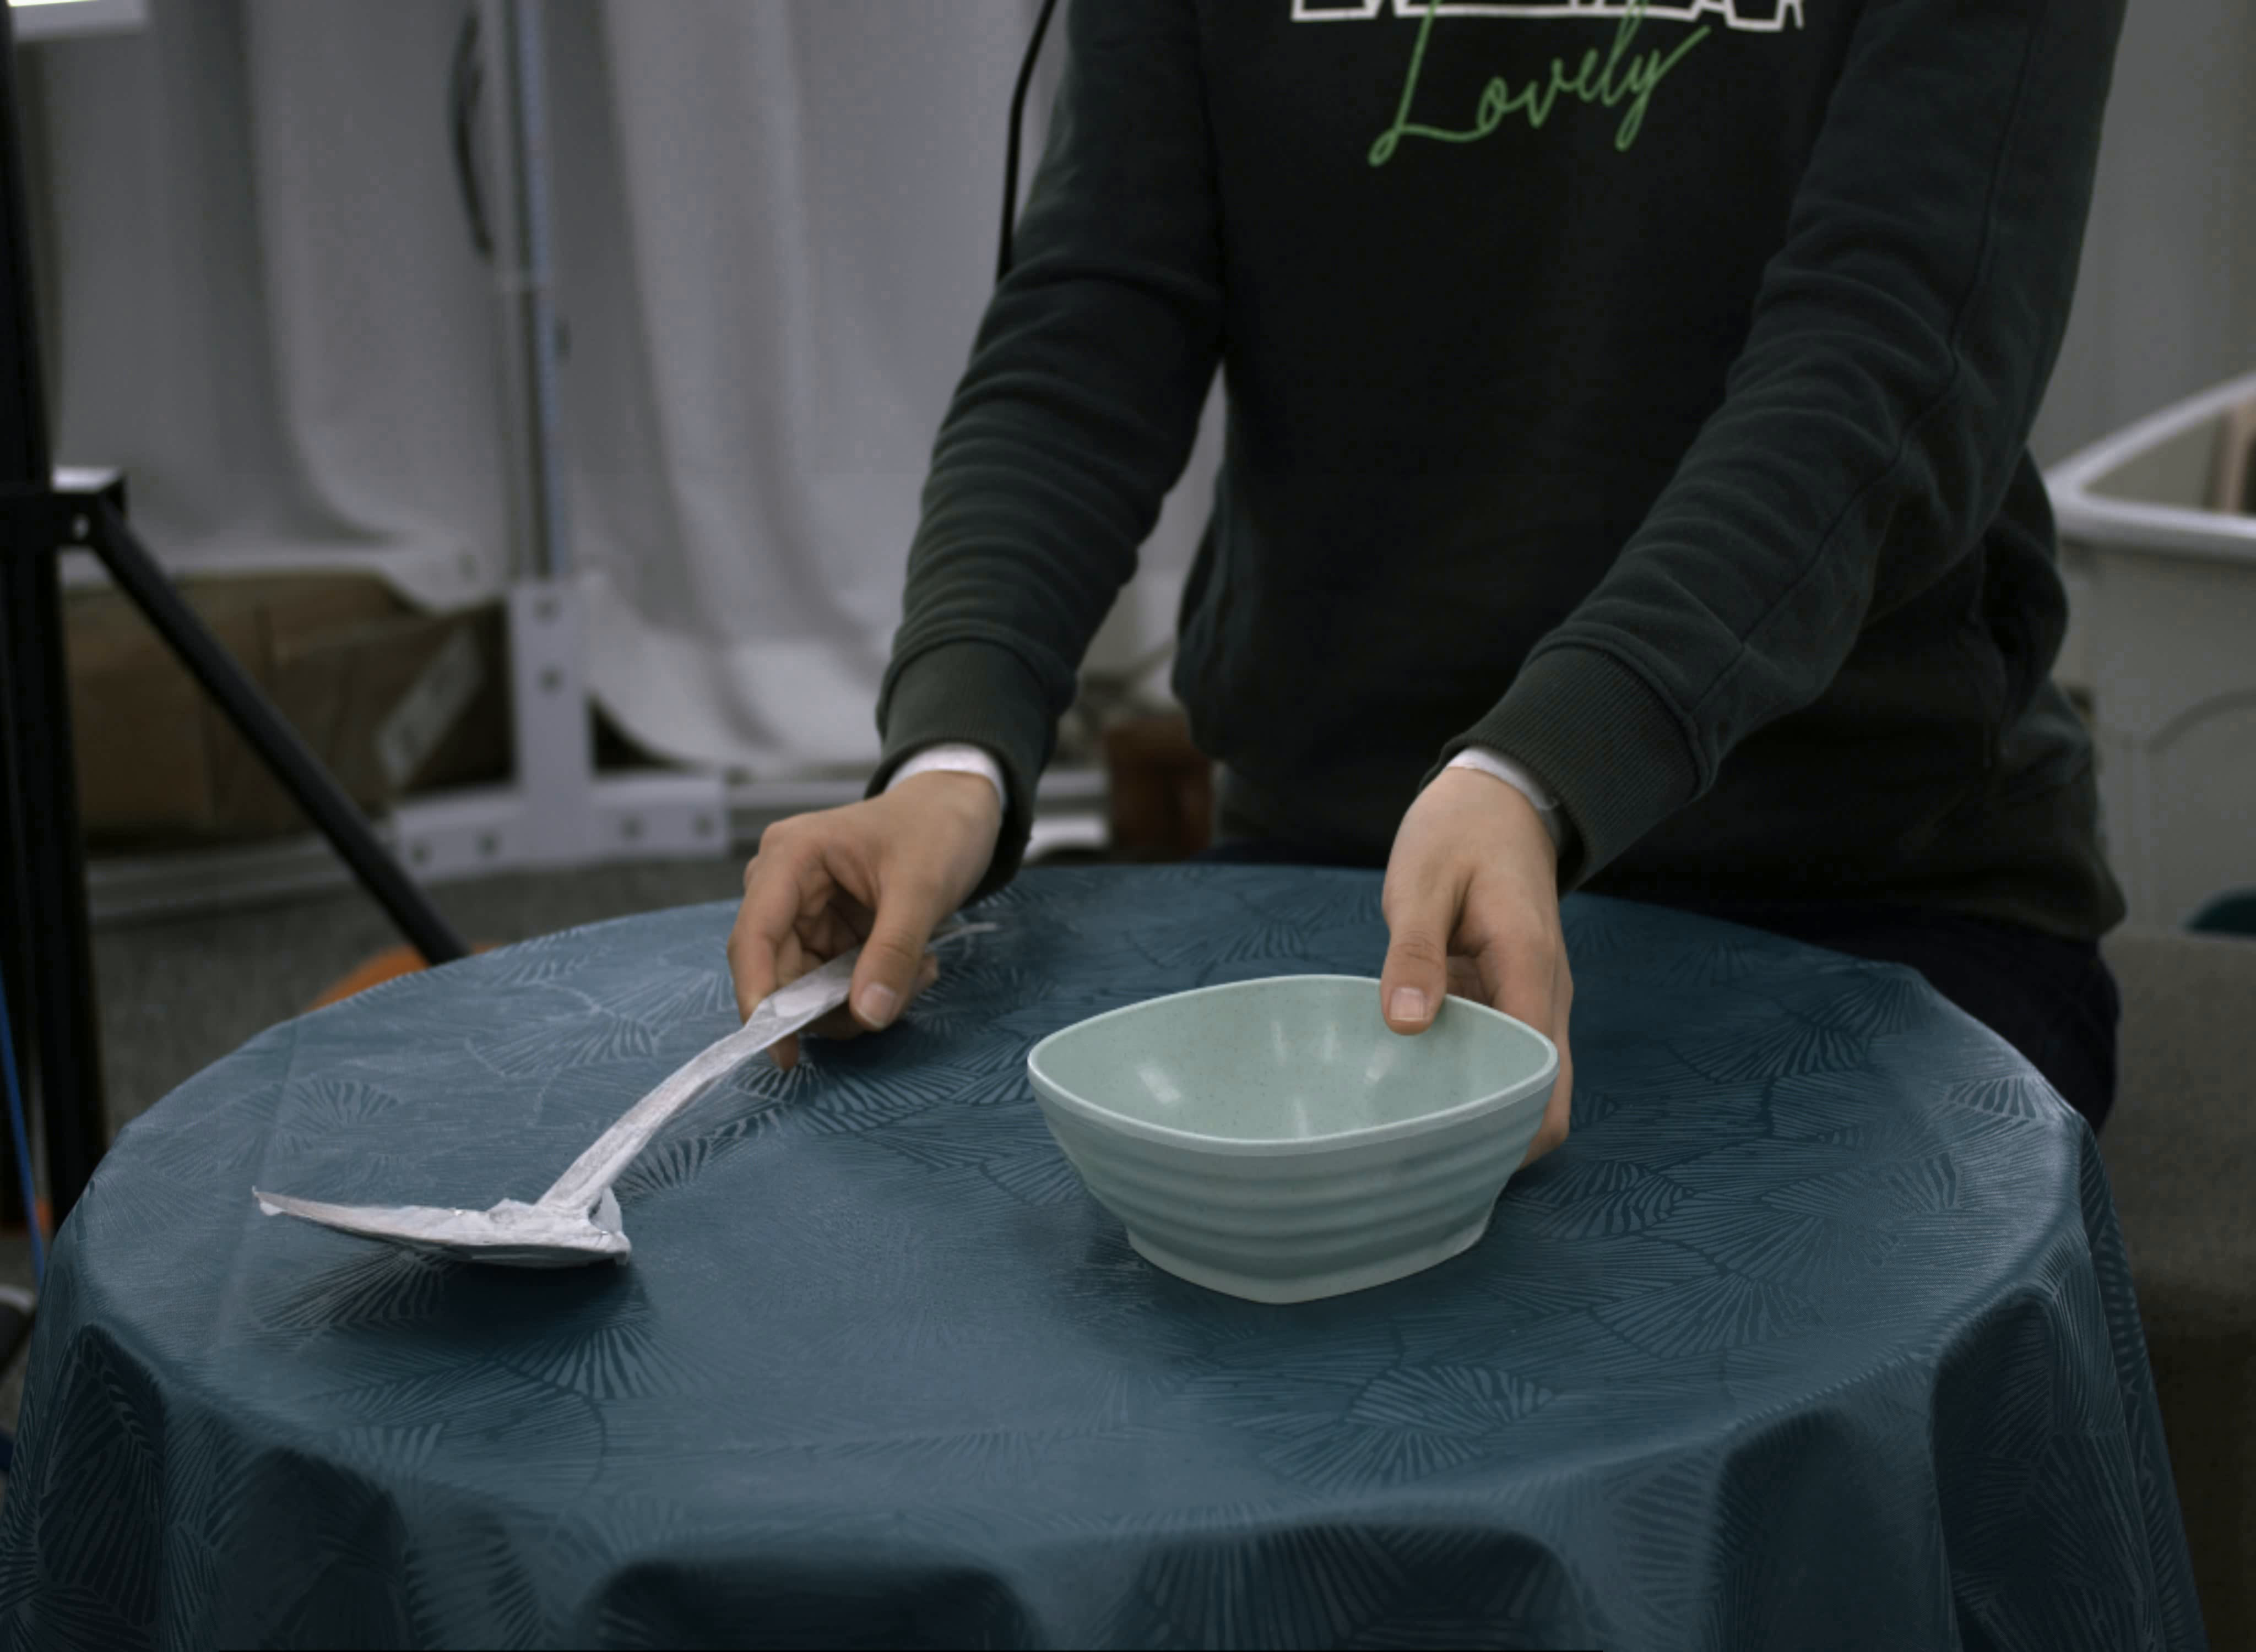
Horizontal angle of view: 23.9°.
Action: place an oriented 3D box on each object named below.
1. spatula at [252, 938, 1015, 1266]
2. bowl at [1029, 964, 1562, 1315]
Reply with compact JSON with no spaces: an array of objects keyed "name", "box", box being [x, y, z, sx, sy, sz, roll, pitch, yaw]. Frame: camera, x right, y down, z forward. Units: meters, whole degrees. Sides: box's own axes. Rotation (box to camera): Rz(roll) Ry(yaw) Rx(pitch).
[{"name":"spatula","box":[-0.128,0.074,1.614,0.100,0.045,0.359,5,20,27]},{"name":"bowl","box":[0.048,0.093,1.503,0.150,0.058,0.152,-2,19,-1]}]
